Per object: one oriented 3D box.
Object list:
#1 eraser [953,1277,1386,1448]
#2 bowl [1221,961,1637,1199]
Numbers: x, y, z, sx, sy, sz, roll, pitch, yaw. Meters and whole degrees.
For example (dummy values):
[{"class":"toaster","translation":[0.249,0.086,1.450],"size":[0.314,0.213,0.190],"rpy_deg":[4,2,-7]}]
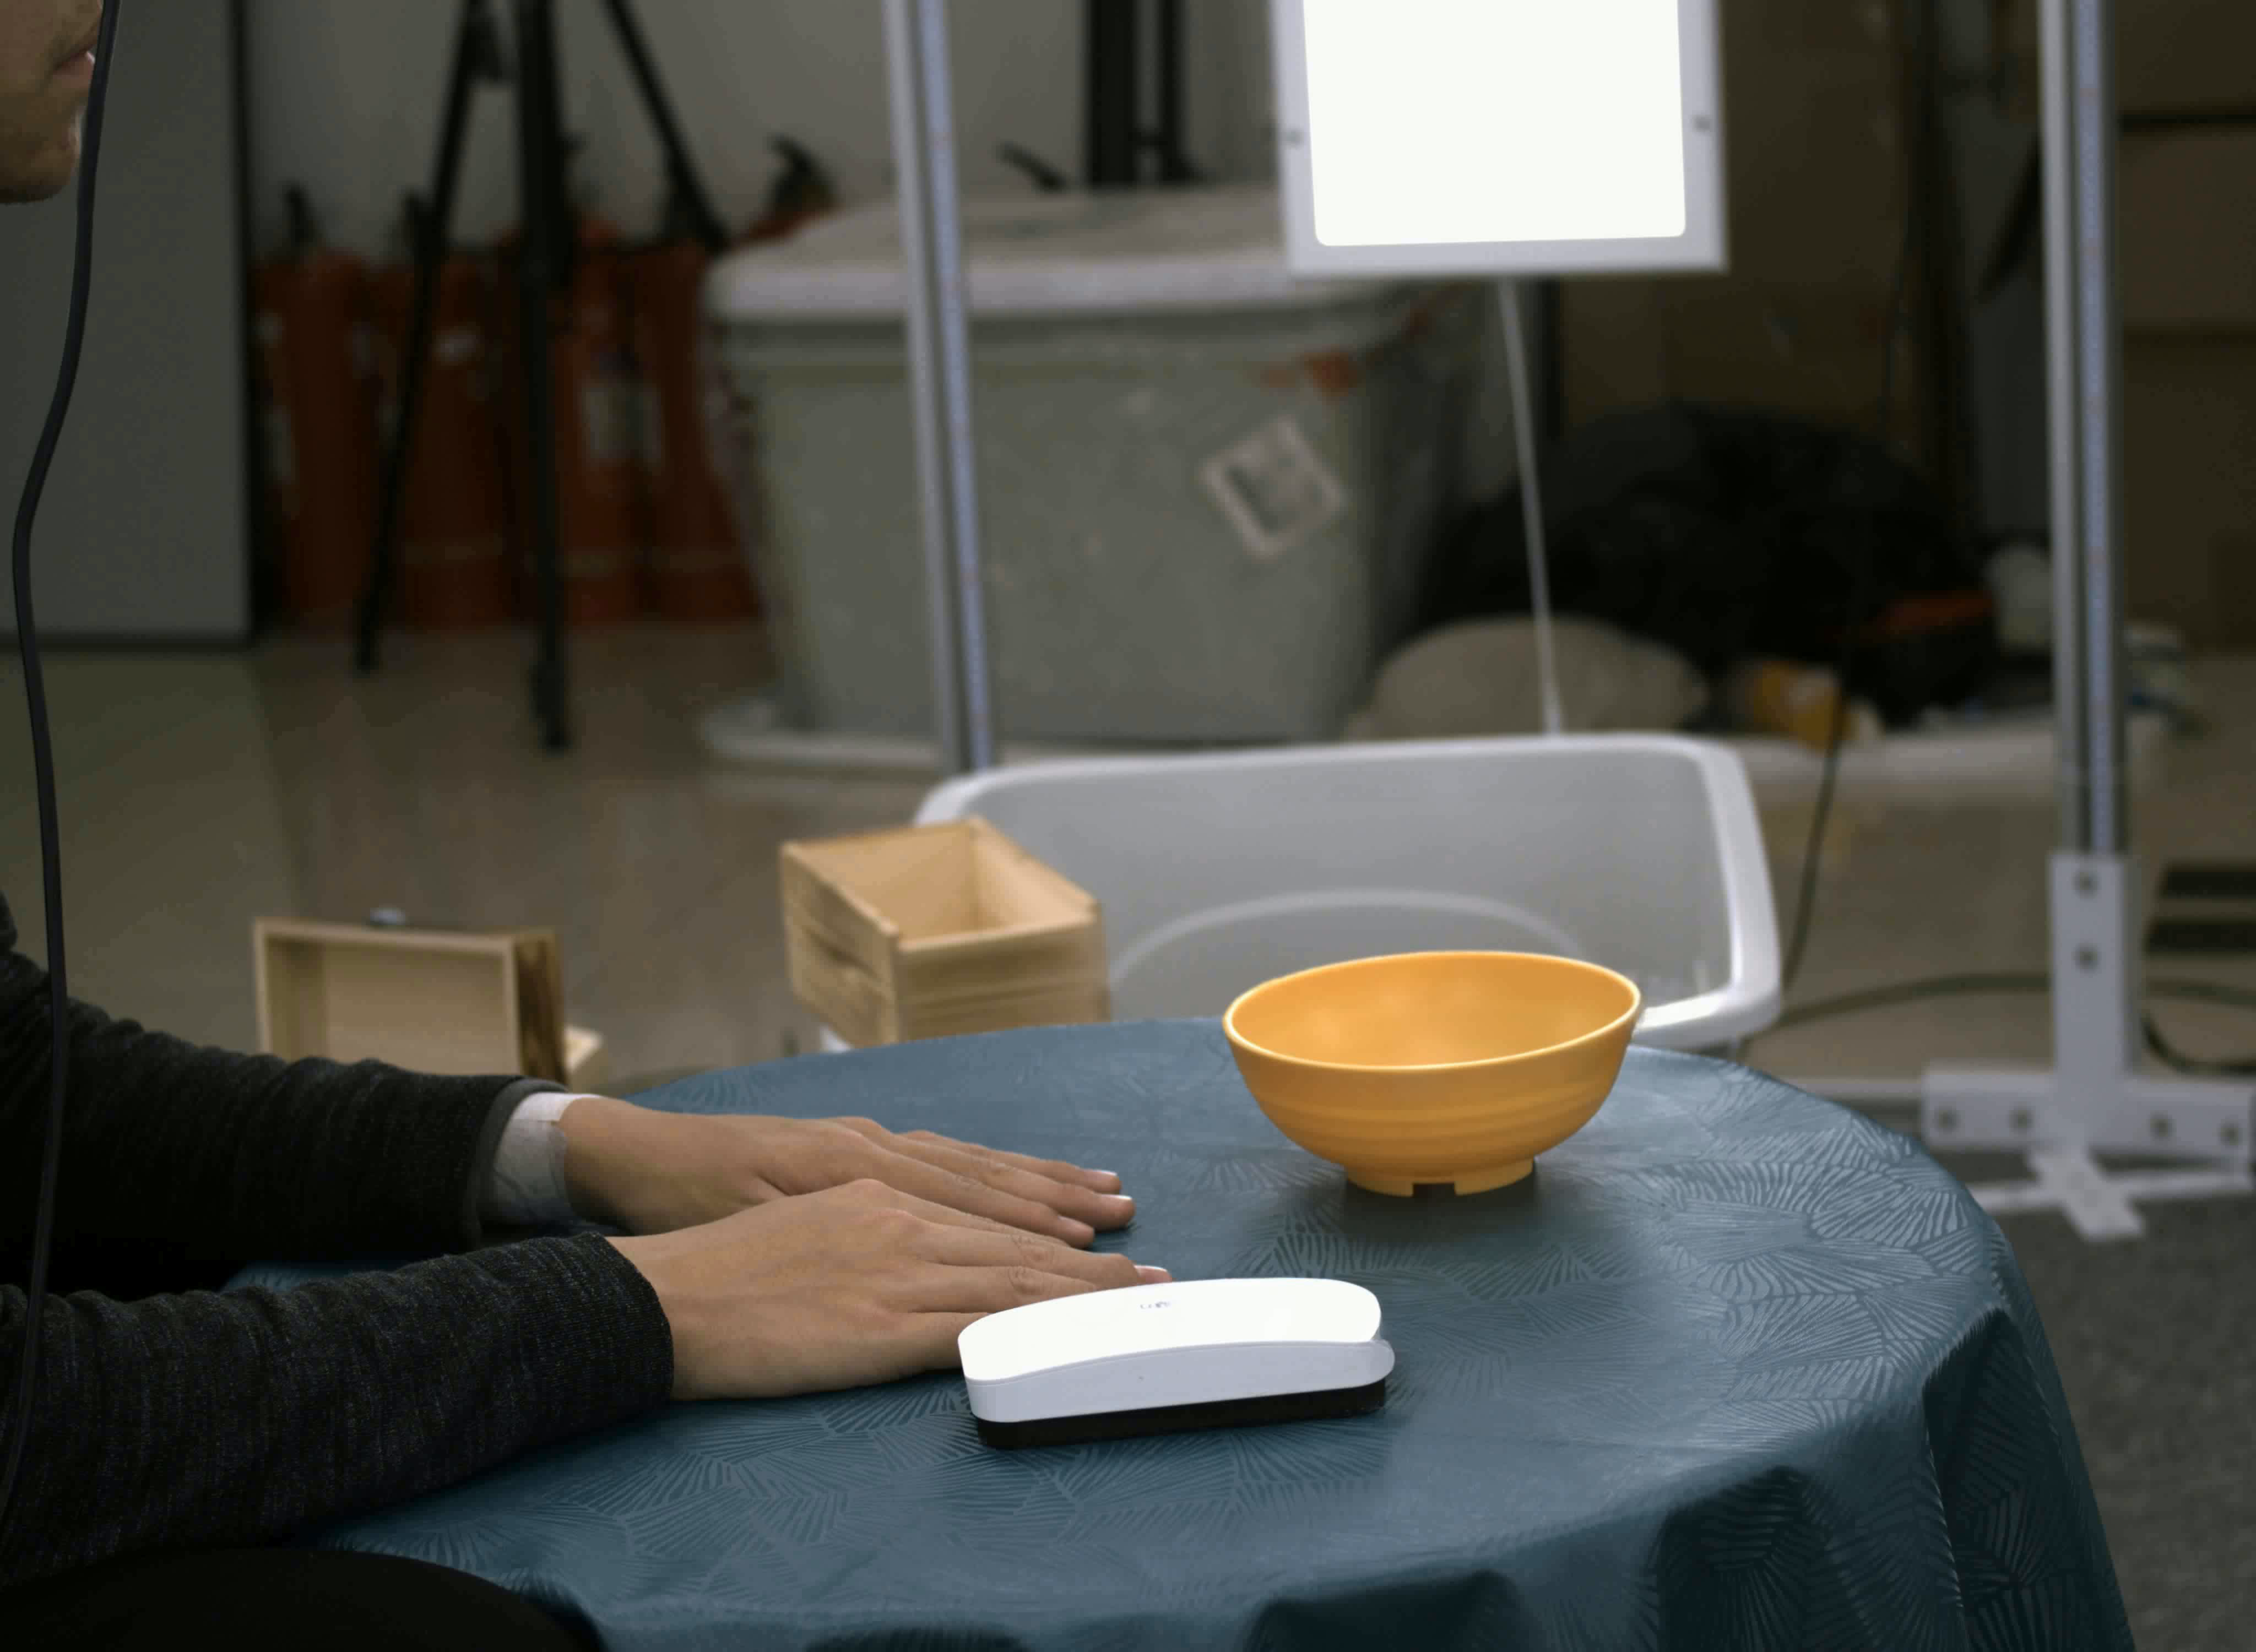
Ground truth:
[{"class":"eraser","translation":[0.013,0.162,1.683],"size":[0.131,0.034,0.063],"rpy_deg":[-5,13,-2]},{"class":"bowl","translation":[0.105,0.090,1.885],"size":[0.145,0.060,0.145],"rpy_deg":[-5,12,0]}]
